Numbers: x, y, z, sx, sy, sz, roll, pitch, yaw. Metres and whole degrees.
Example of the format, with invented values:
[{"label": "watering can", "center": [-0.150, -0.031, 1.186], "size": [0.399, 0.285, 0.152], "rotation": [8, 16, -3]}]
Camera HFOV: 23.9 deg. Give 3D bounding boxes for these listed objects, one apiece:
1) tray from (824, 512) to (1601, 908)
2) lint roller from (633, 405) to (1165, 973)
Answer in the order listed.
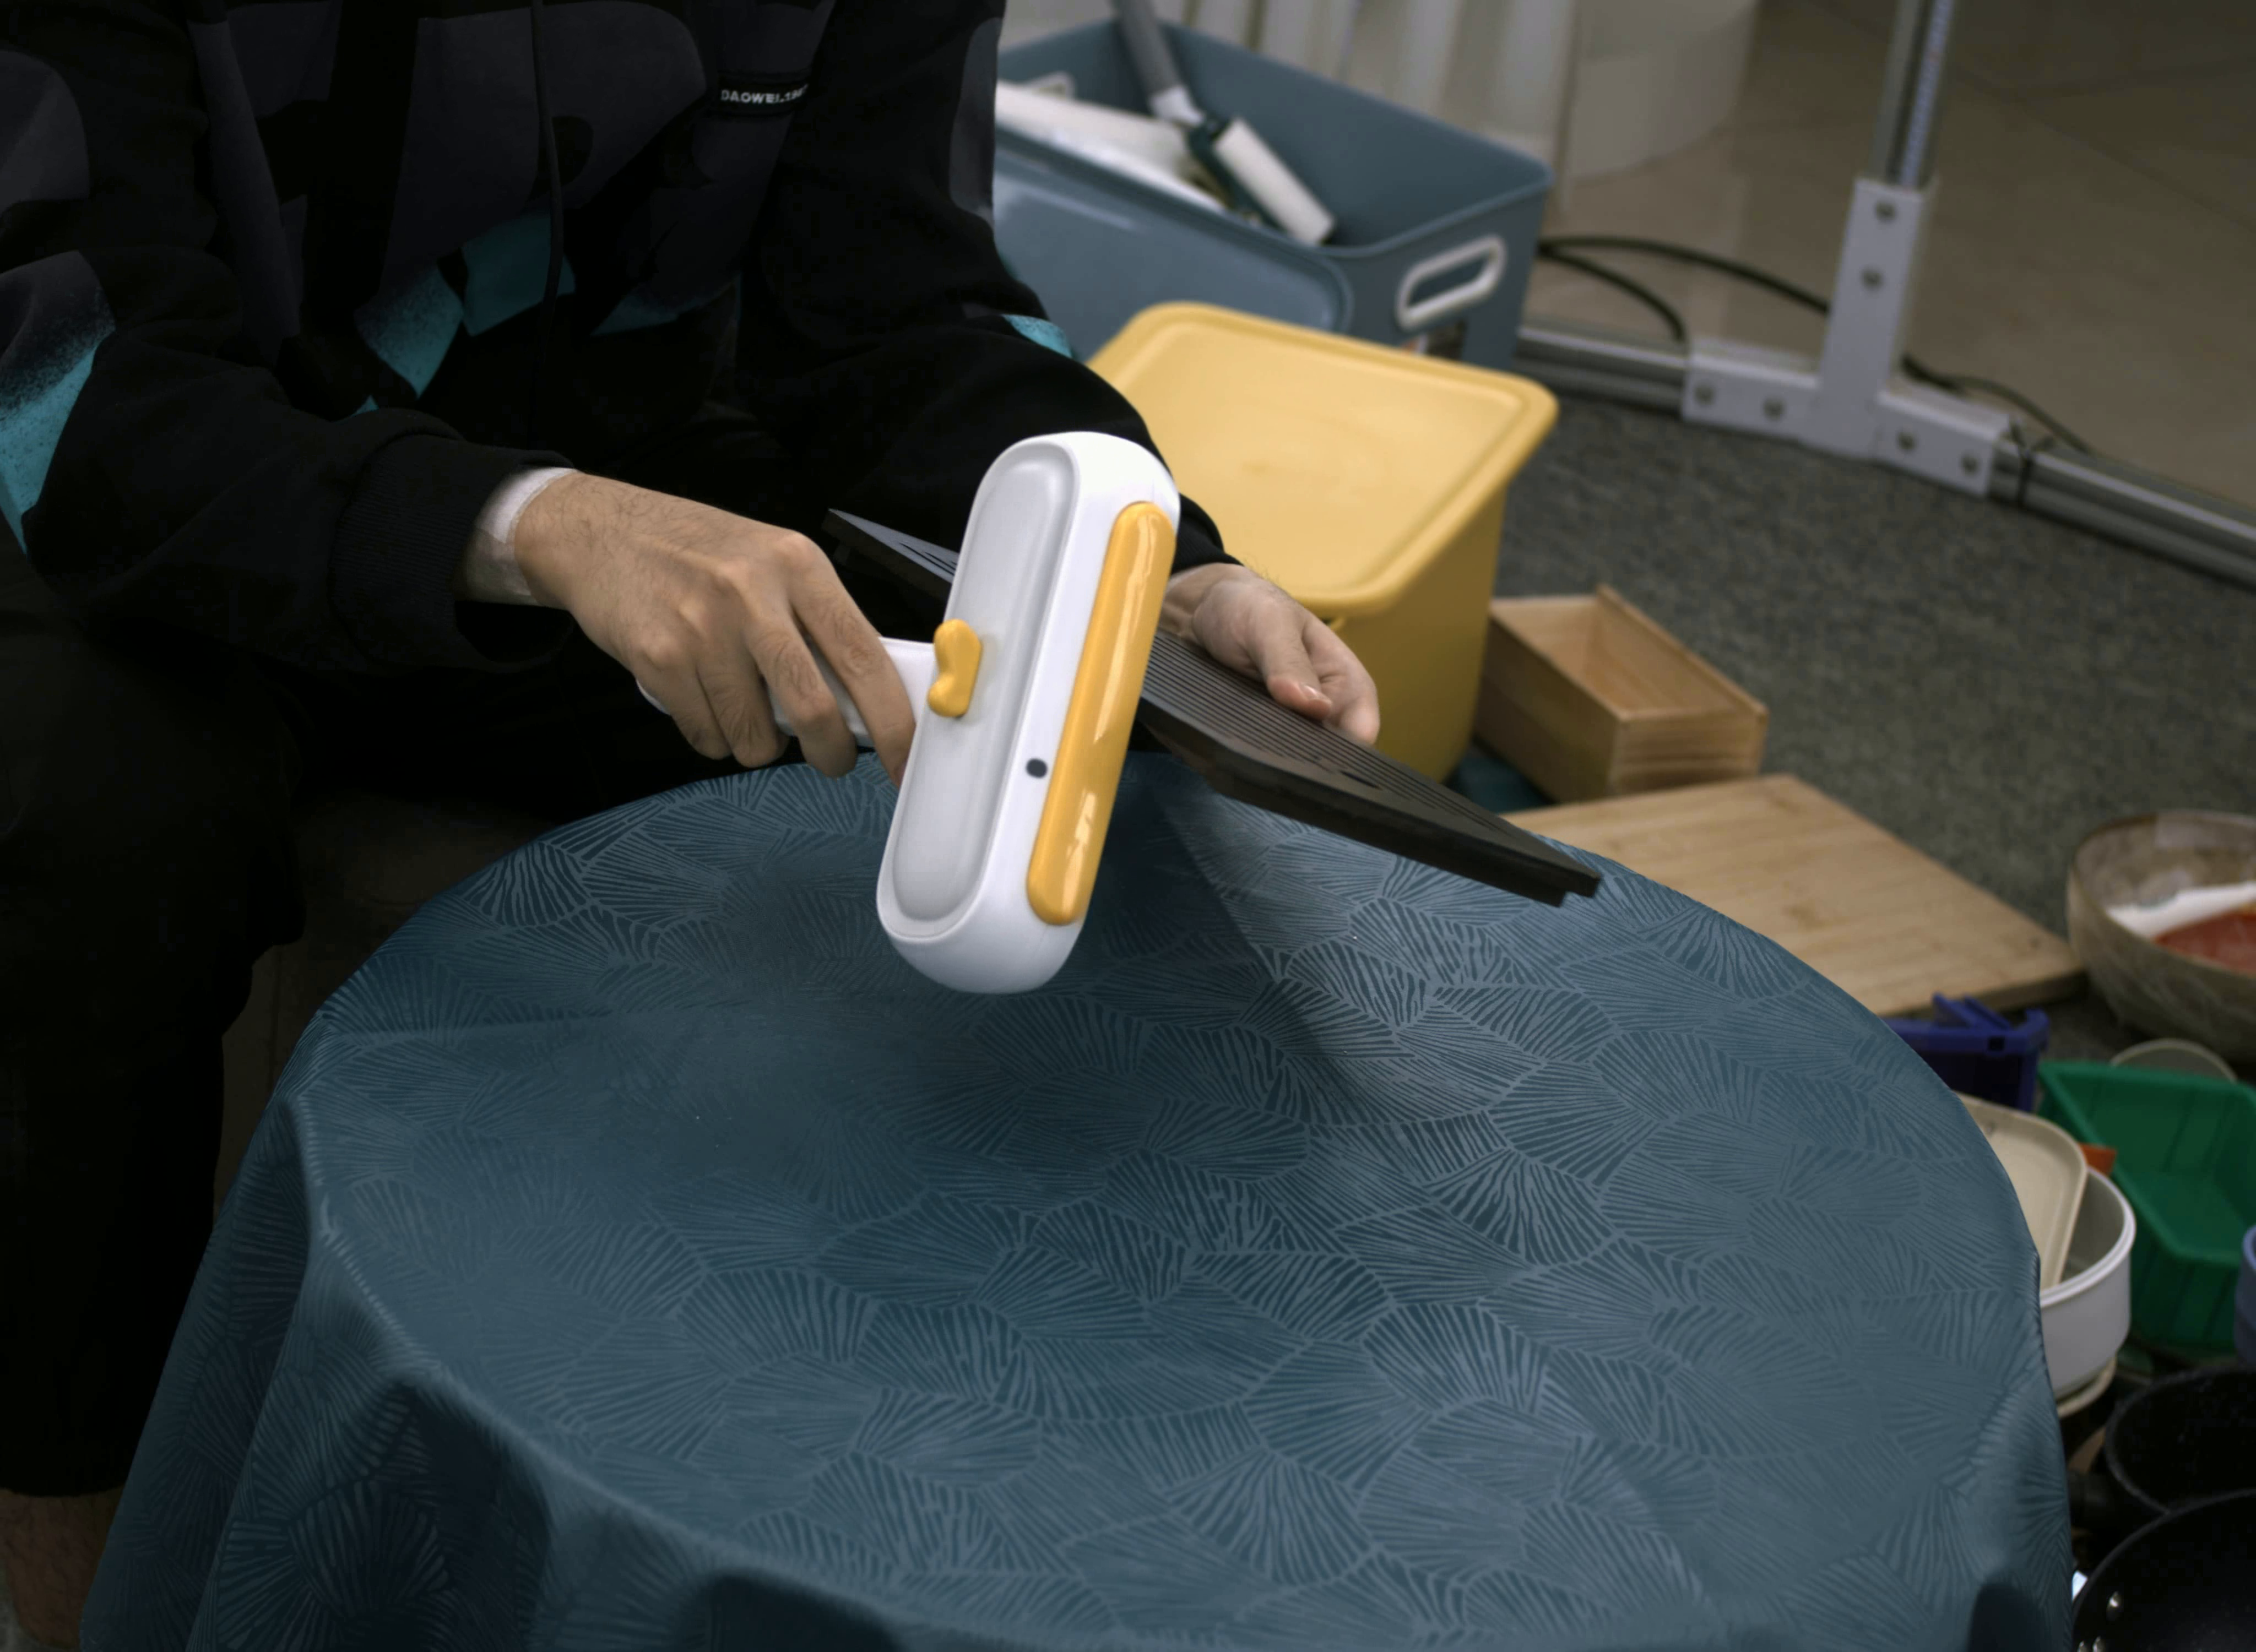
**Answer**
[{"label": "tray", "center": [0.023, -0.041, 1.893], "size": [0.168, 0.018, 0.308], "rotation": [18, 8, -35]}, {"label": "lint roller", "center": [-0.082, -0.047, 1.799], "size": [0.193, 0.194, 0.073], "rotation": [-2, -14, 41]}]
